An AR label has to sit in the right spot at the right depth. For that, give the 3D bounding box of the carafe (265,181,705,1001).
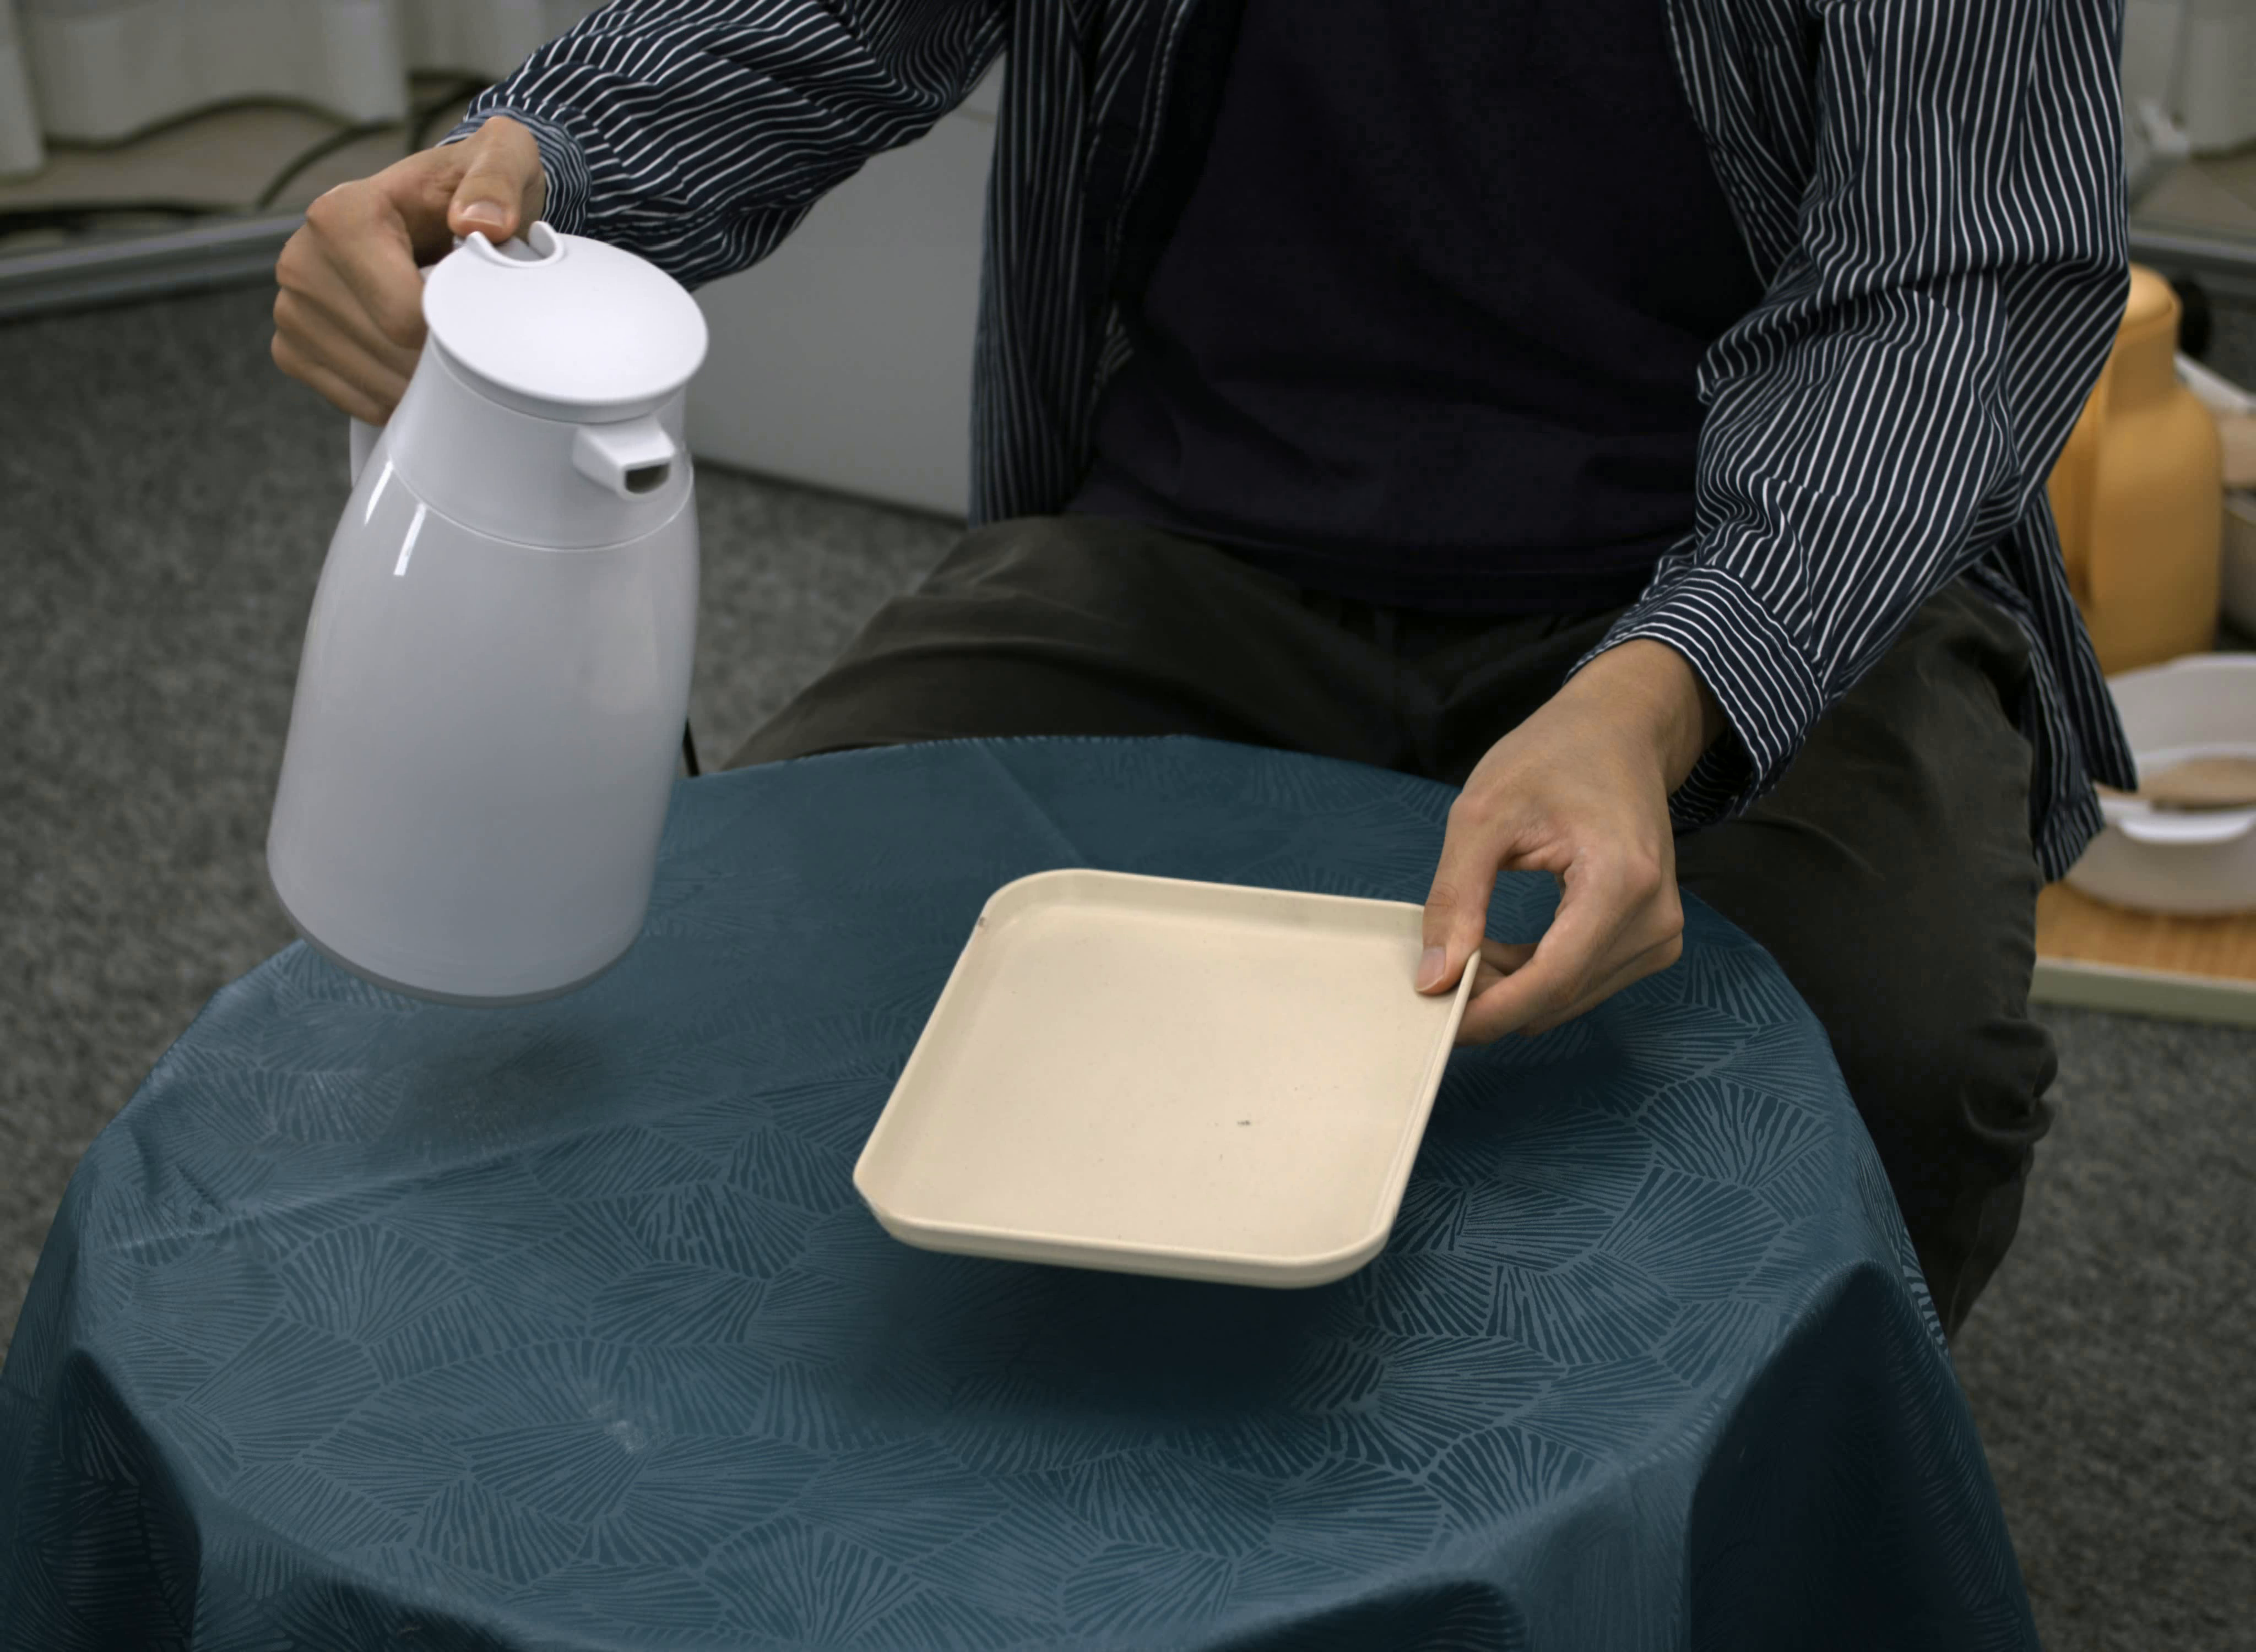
[{"bbox_3d":[-0.215,-0.088,1.857,0.133,0.244,0.169,-16,46,-35],"label":"carafe"}]

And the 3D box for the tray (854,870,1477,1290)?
[{"bbox_3d":[0.016,0.080,1.806,0.170,0.017,0.243,6,27,10],"label":"tray"}]
